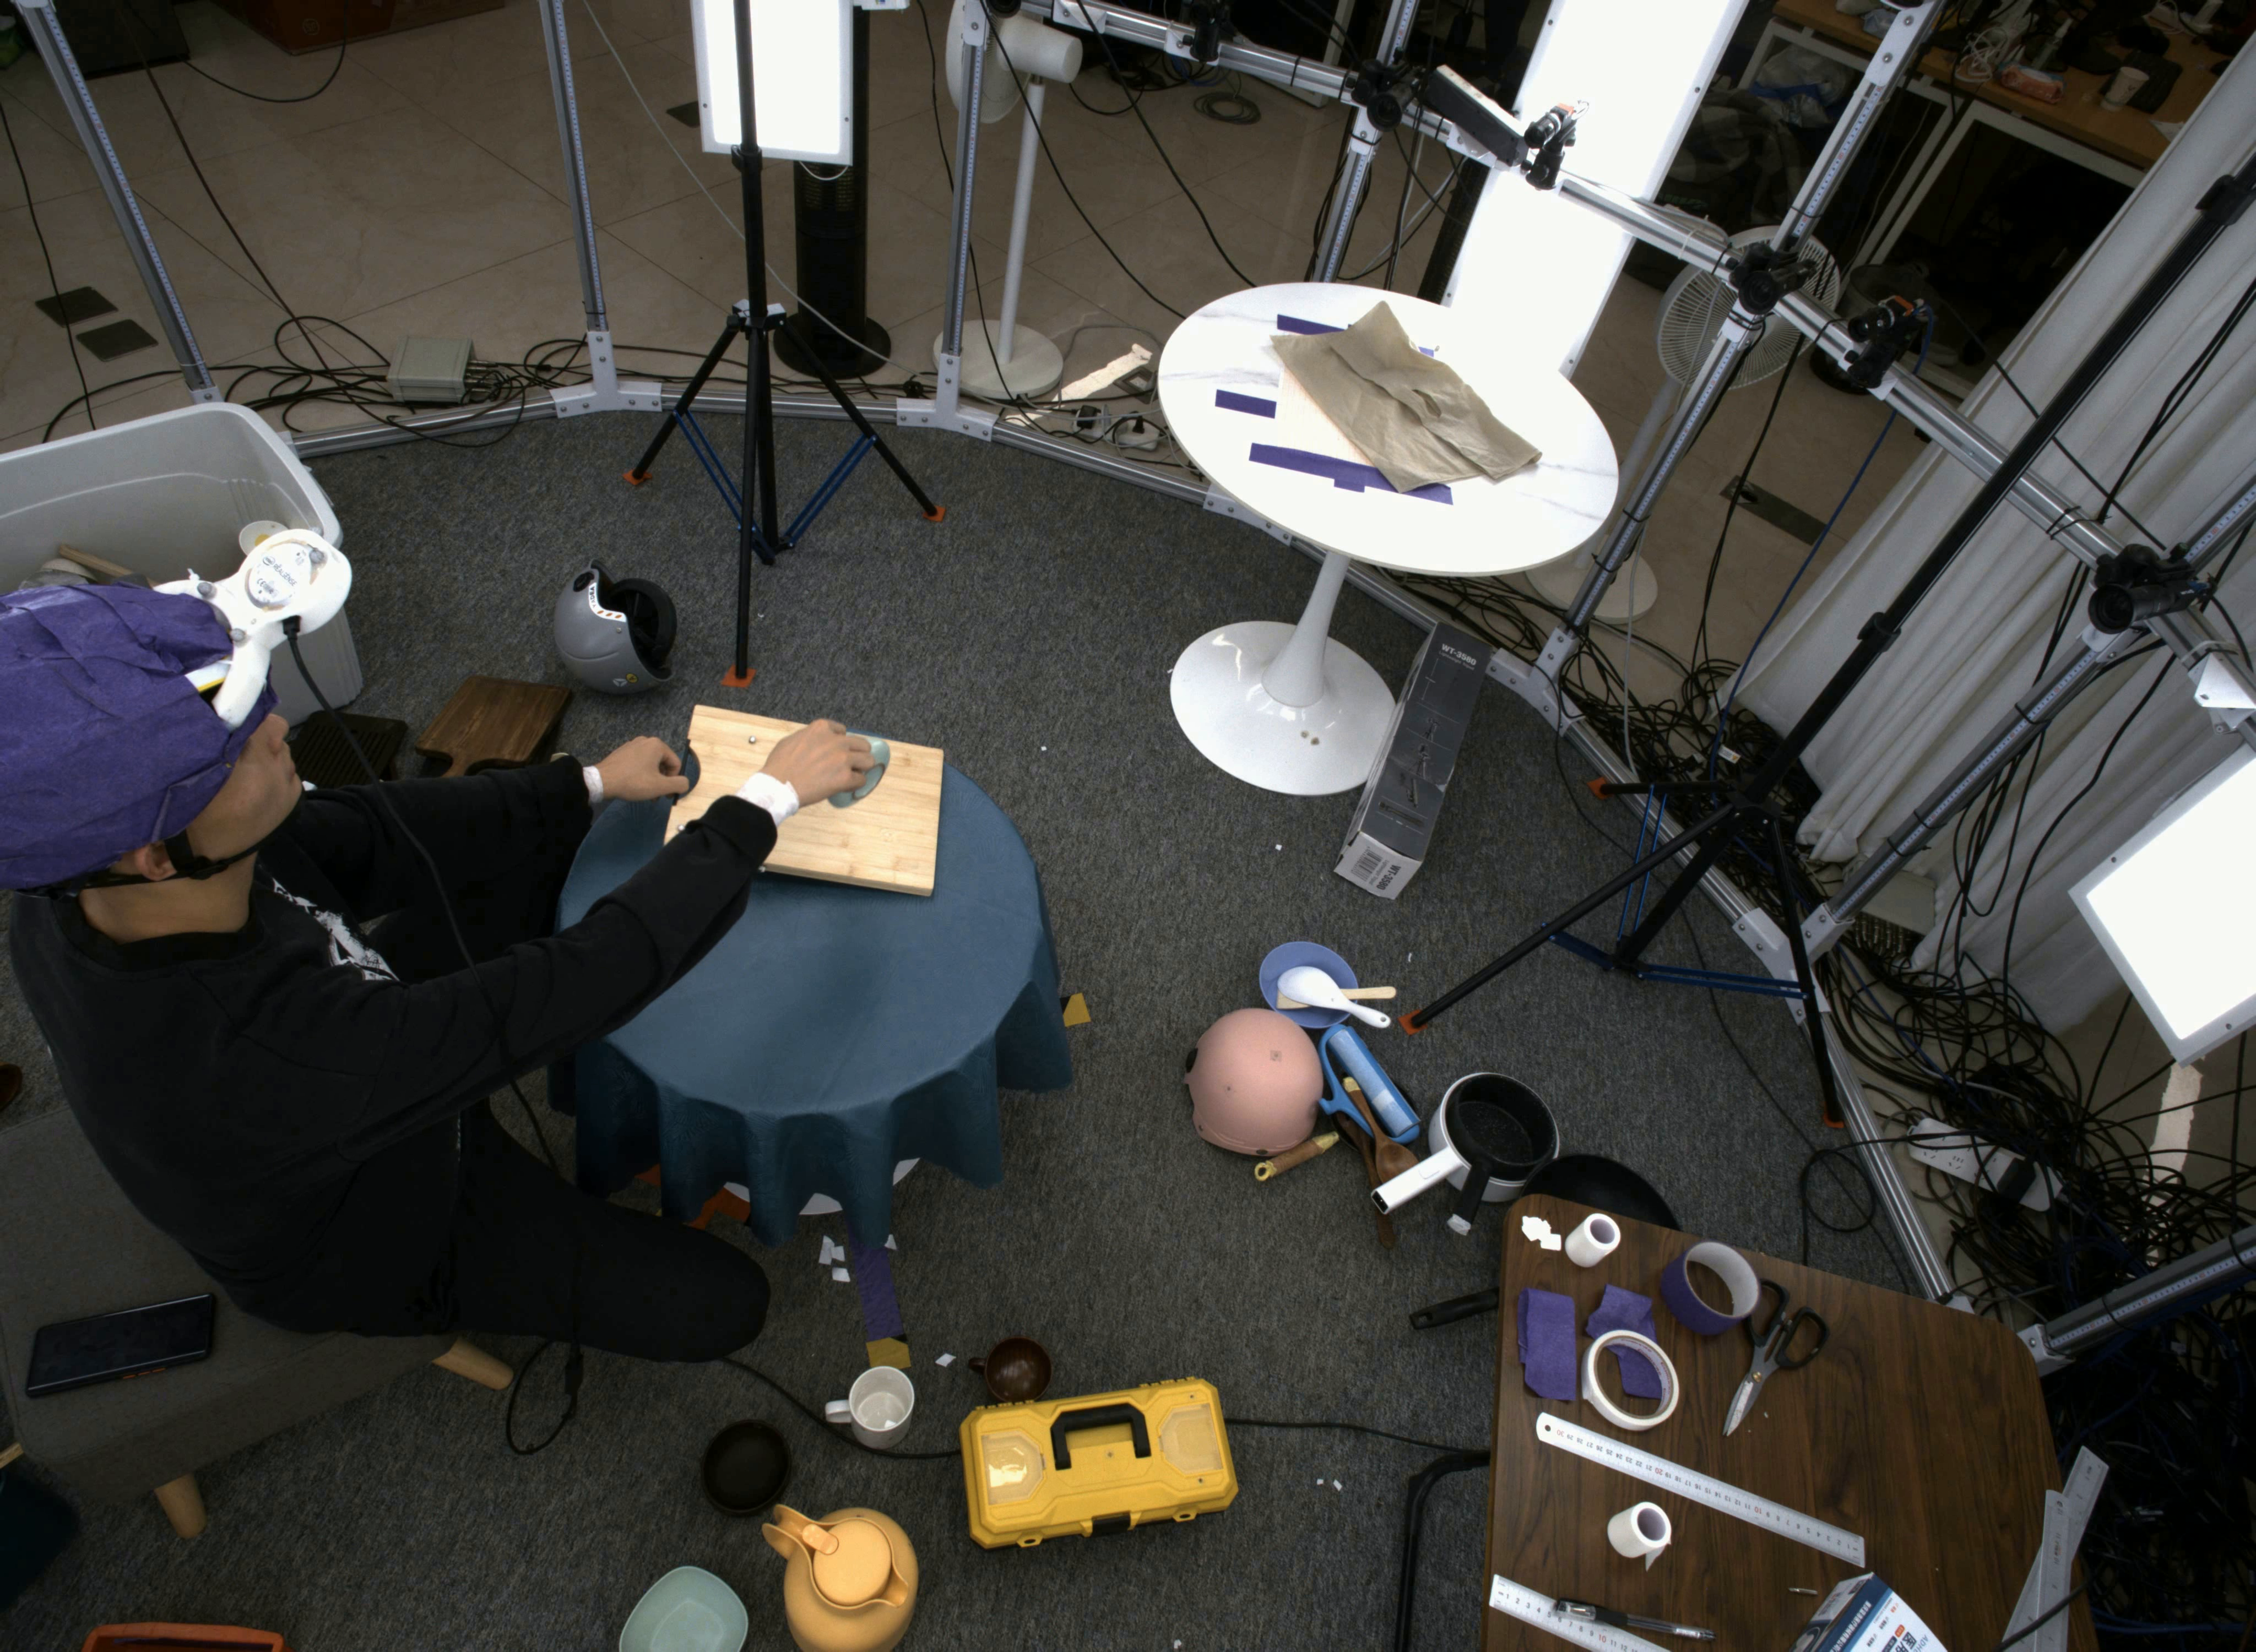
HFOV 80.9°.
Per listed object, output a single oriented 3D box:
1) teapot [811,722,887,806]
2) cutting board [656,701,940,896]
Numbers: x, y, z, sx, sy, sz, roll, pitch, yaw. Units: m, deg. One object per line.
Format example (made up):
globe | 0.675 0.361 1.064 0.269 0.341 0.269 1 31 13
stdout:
teapot | -0.327 -0.074 1.501 0.060 0.139 0.096 39 73 13
cutting board | -0.424 -0.038 1.707 0.351 0.024 0.246 10 52 -18
